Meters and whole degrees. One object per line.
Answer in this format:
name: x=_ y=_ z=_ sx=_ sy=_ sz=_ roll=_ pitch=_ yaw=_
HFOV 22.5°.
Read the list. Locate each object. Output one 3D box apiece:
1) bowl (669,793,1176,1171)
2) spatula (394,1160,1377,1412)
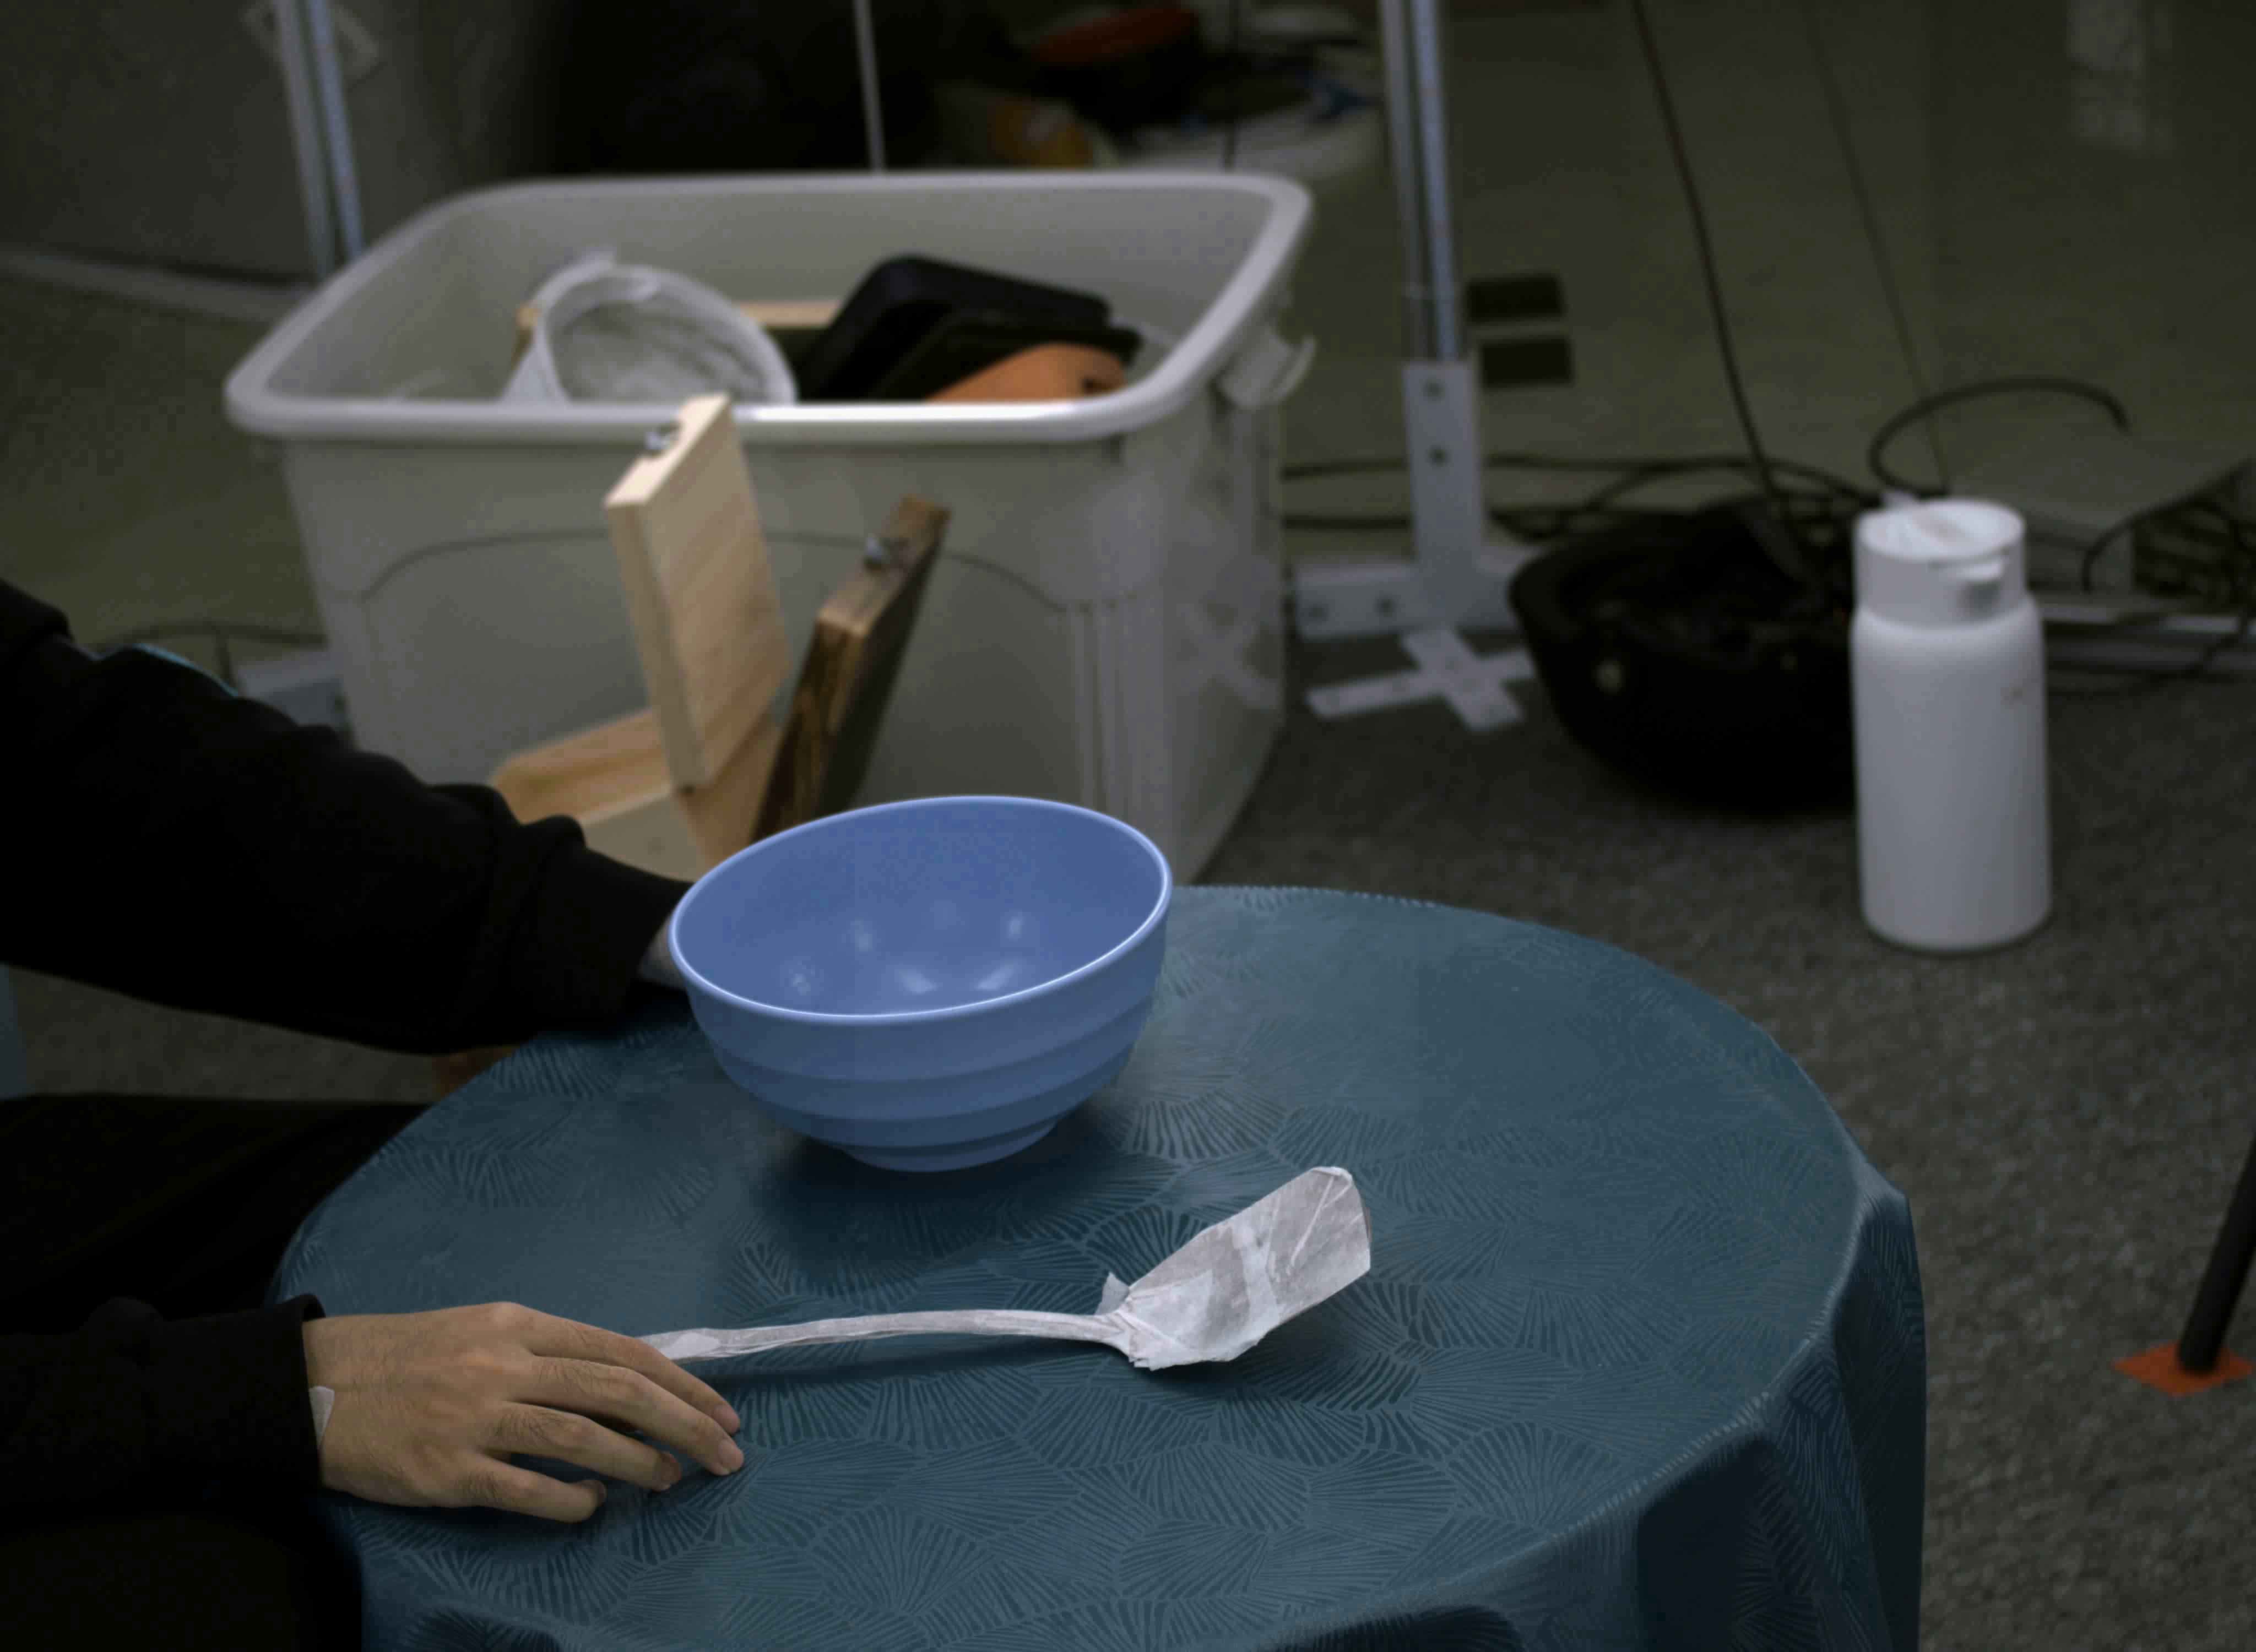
bowl: x=-0.076 y=0.071 z=2.201 sx=0.196 sy=0.097 sz=0.193 roll=-4 pitch=26 yaw=2
spatula: x=-0.090 y=0.176 z=2.049 sx=0.364 sy=0.045 sz=0.097 roll=-6 pitch=26 yaw=1
